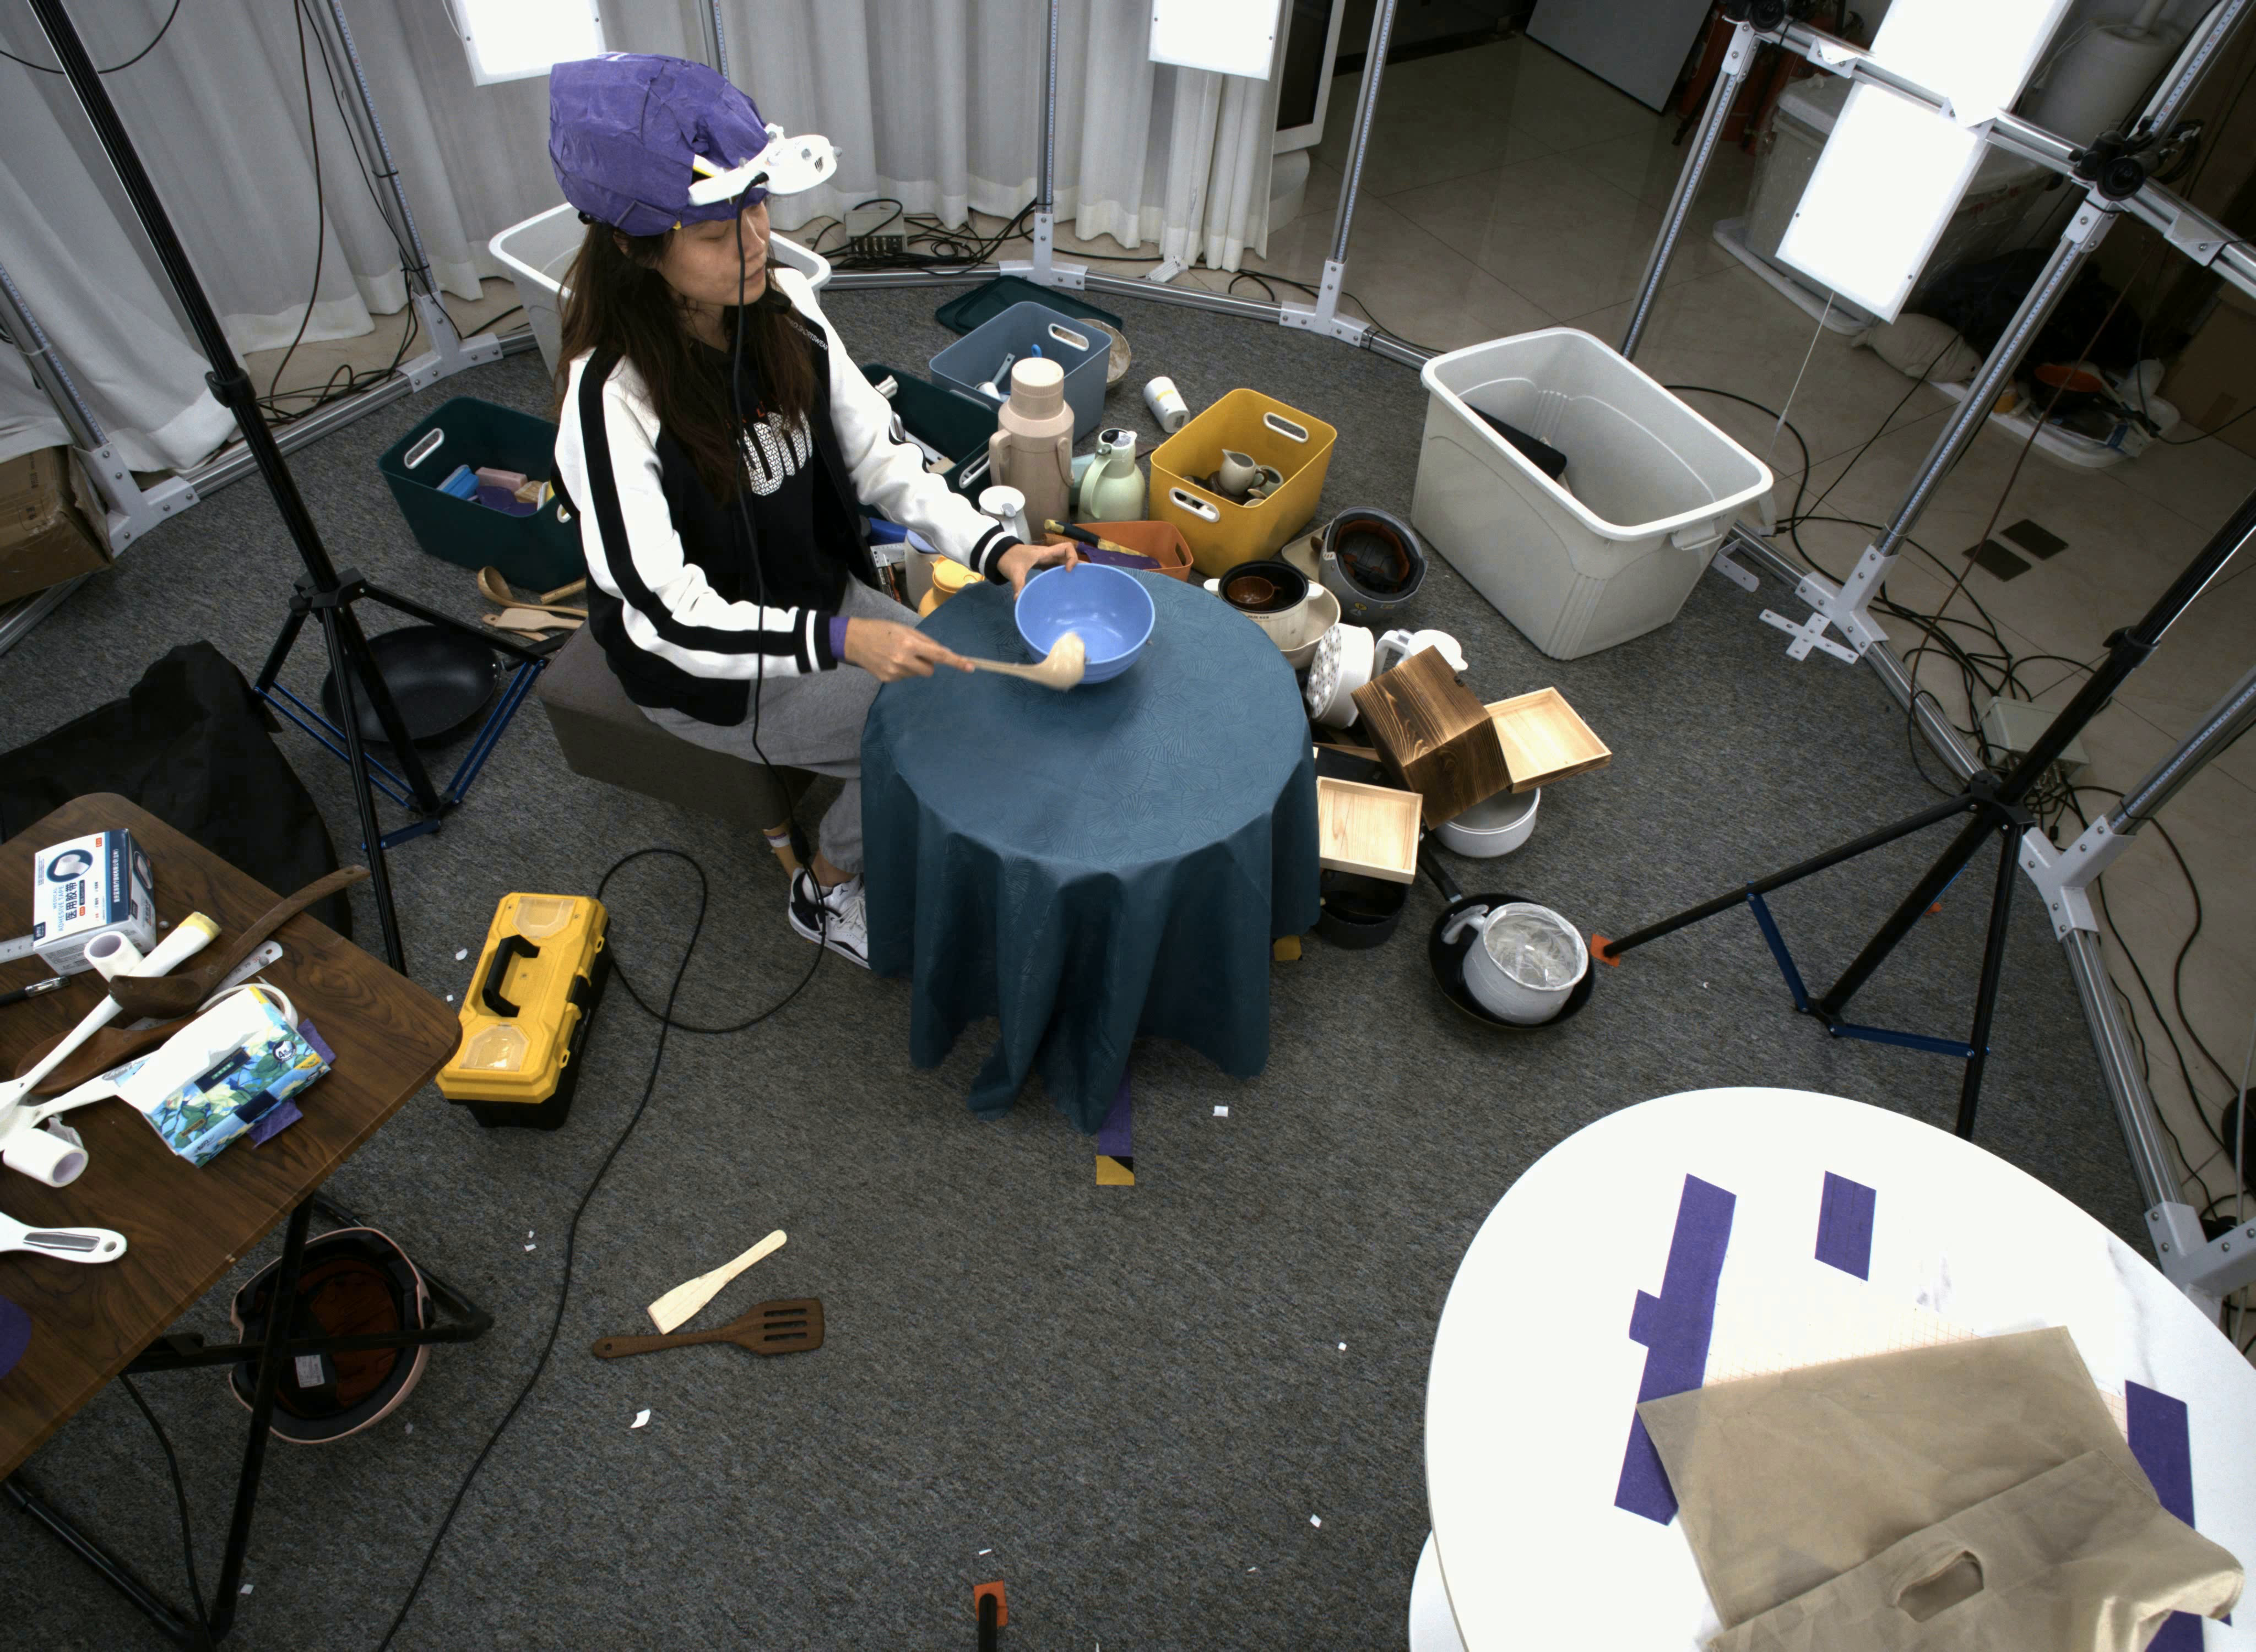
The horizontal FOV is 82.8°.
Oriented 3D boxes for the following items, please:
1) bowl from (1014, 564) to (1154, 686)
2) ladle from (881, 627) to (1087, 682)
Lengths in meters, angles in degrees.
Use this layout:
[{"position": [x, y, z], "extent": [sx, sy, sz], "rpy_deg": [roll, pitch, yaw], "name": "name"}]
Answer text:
[{"position": [-0.062, -0.272, 1.841], "extent": [0.196, 0.093, 0.201], "rpy_deg": [0, 55, 0], "name": "bowl"}, {"position": [-0.177, -0.233, 1.626], "extent": [0.254, 0.070, 0.074], "rpy_deg": [9, 55, 3], "name": "ladle"}]
